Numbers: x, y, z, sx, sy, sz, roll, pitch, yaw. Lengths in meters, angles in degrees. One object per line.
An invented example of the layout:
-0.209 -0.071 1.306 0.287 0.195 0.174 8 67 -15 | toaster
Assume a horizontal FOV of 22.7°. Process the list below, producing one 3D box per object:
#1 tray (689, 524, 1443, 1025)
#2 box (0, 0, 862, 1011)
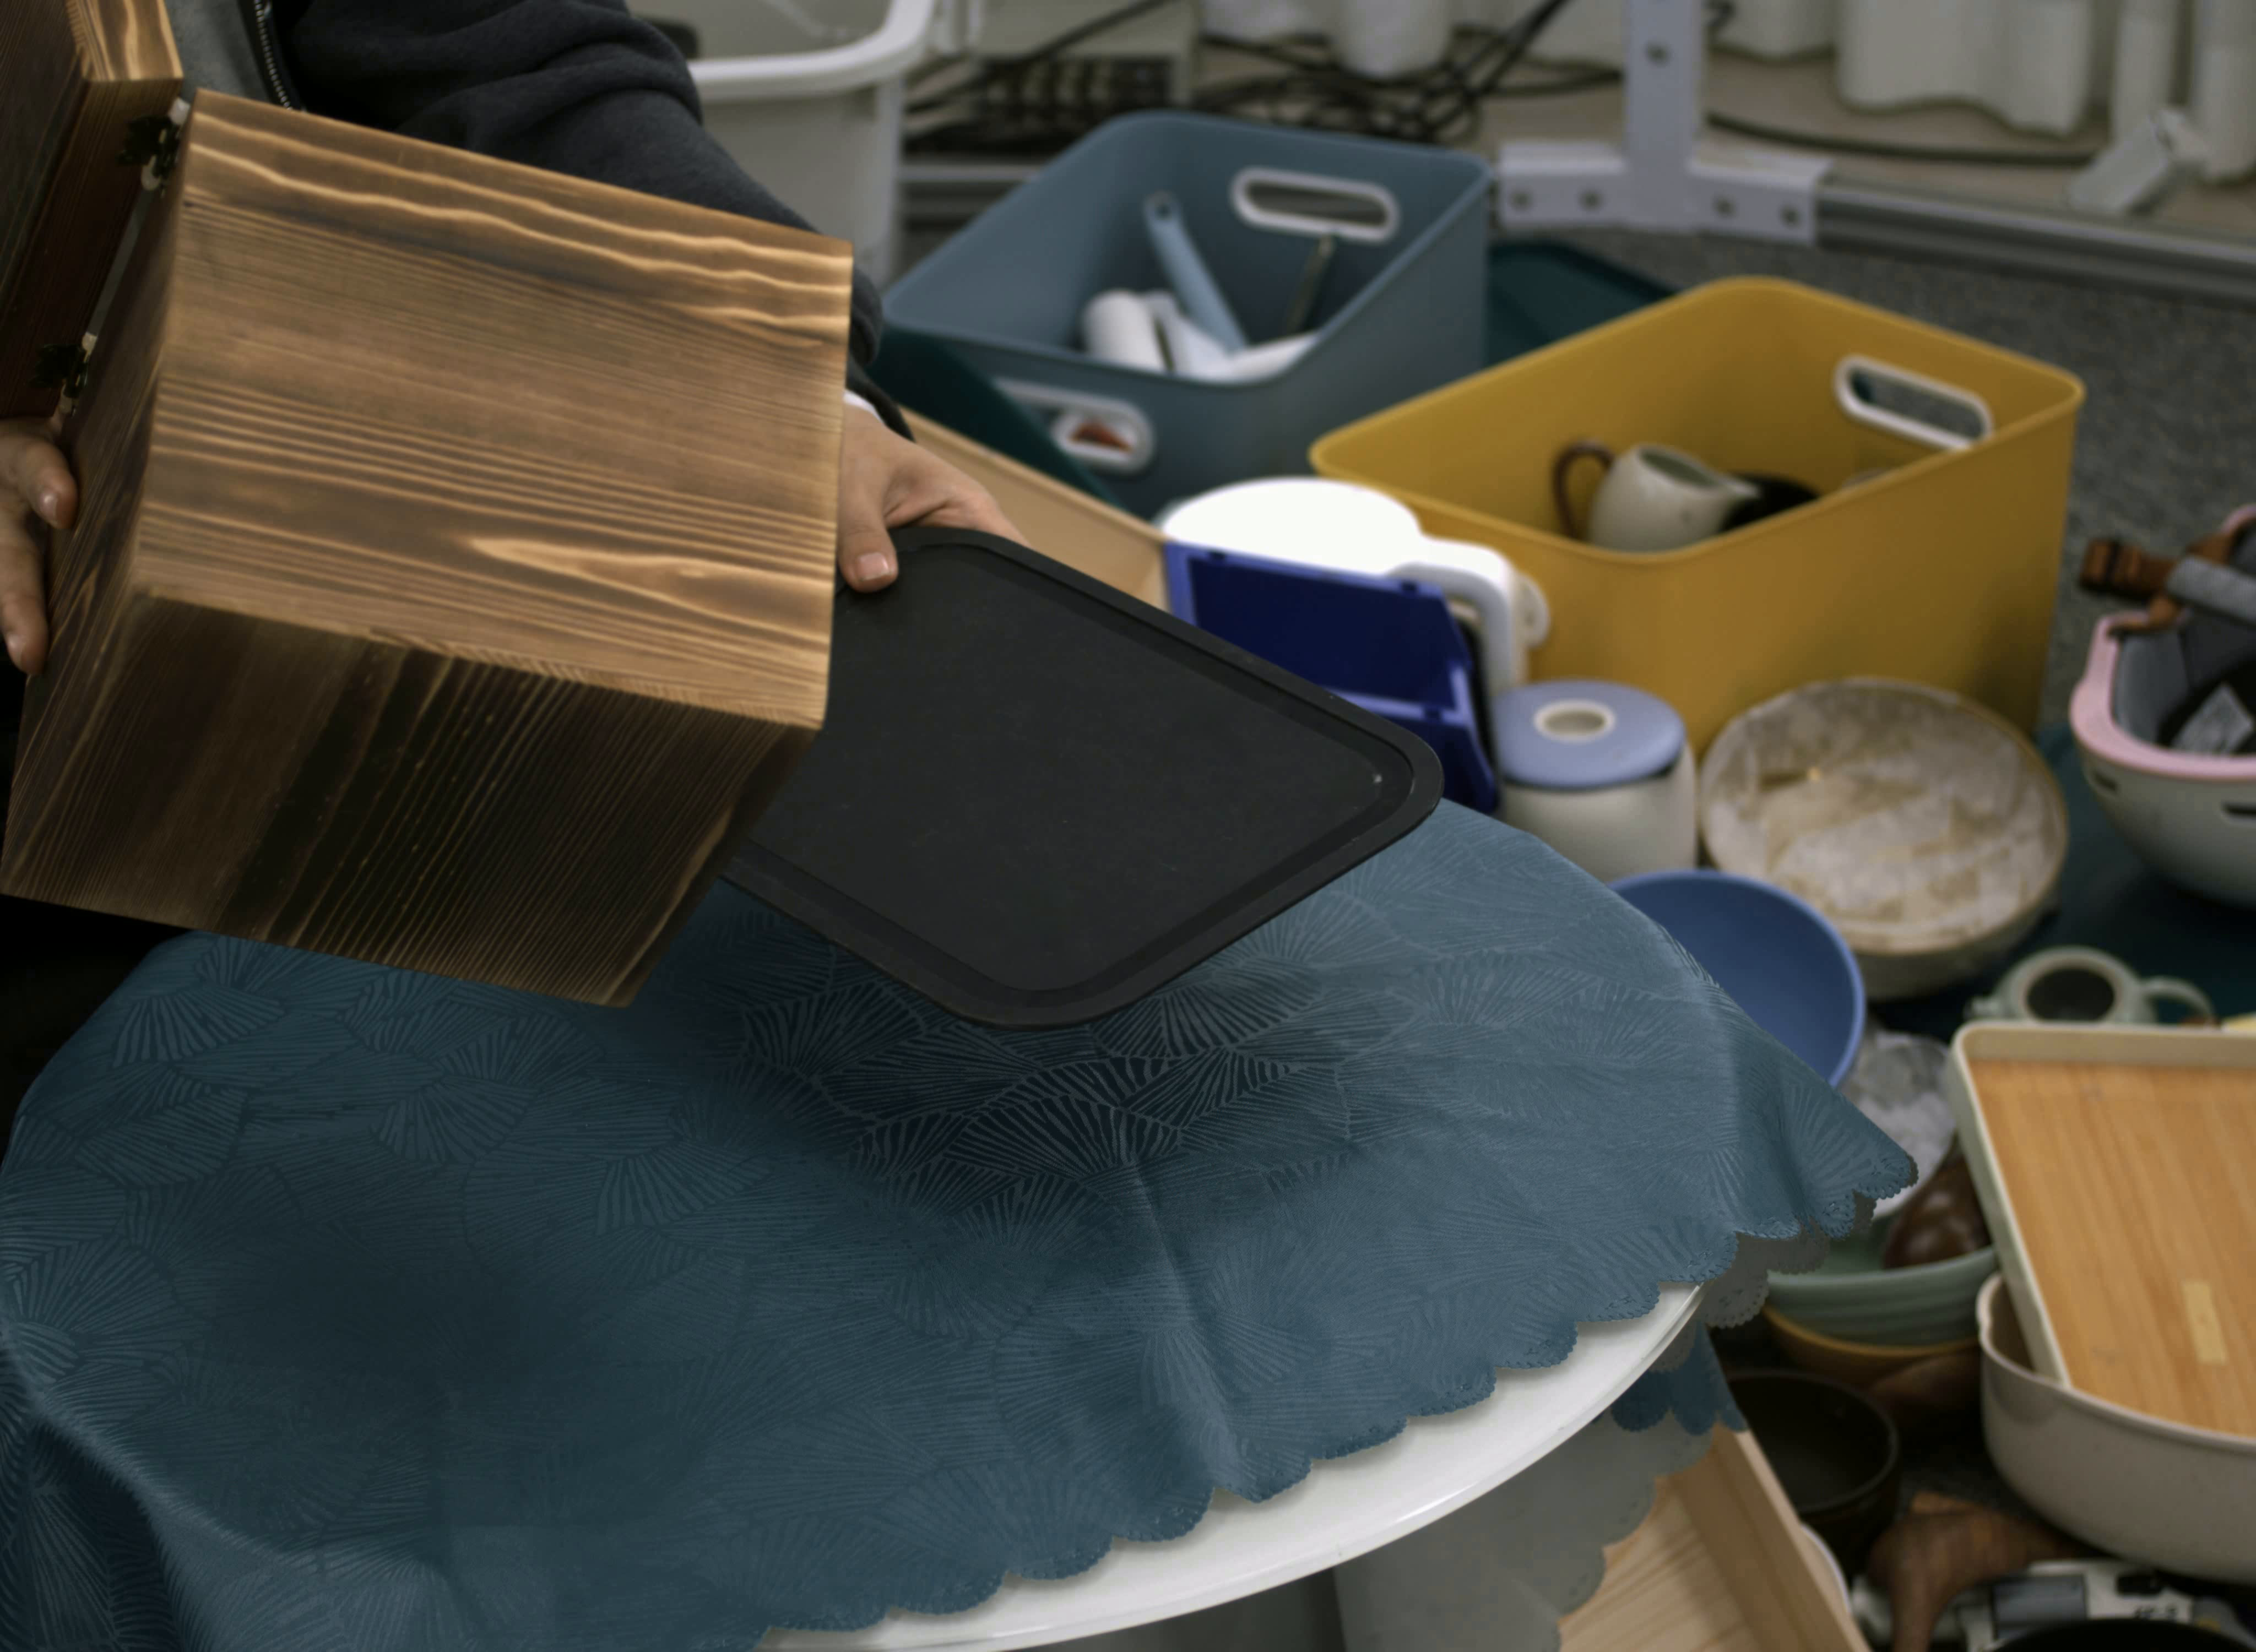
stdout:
-0.059 -0.027 1.957 0.213 0.009 0.325 -30 39 -31 | tray
-0.256 -0.174 1.728 0.321 0.205 0.382 12 61 -18 | box
